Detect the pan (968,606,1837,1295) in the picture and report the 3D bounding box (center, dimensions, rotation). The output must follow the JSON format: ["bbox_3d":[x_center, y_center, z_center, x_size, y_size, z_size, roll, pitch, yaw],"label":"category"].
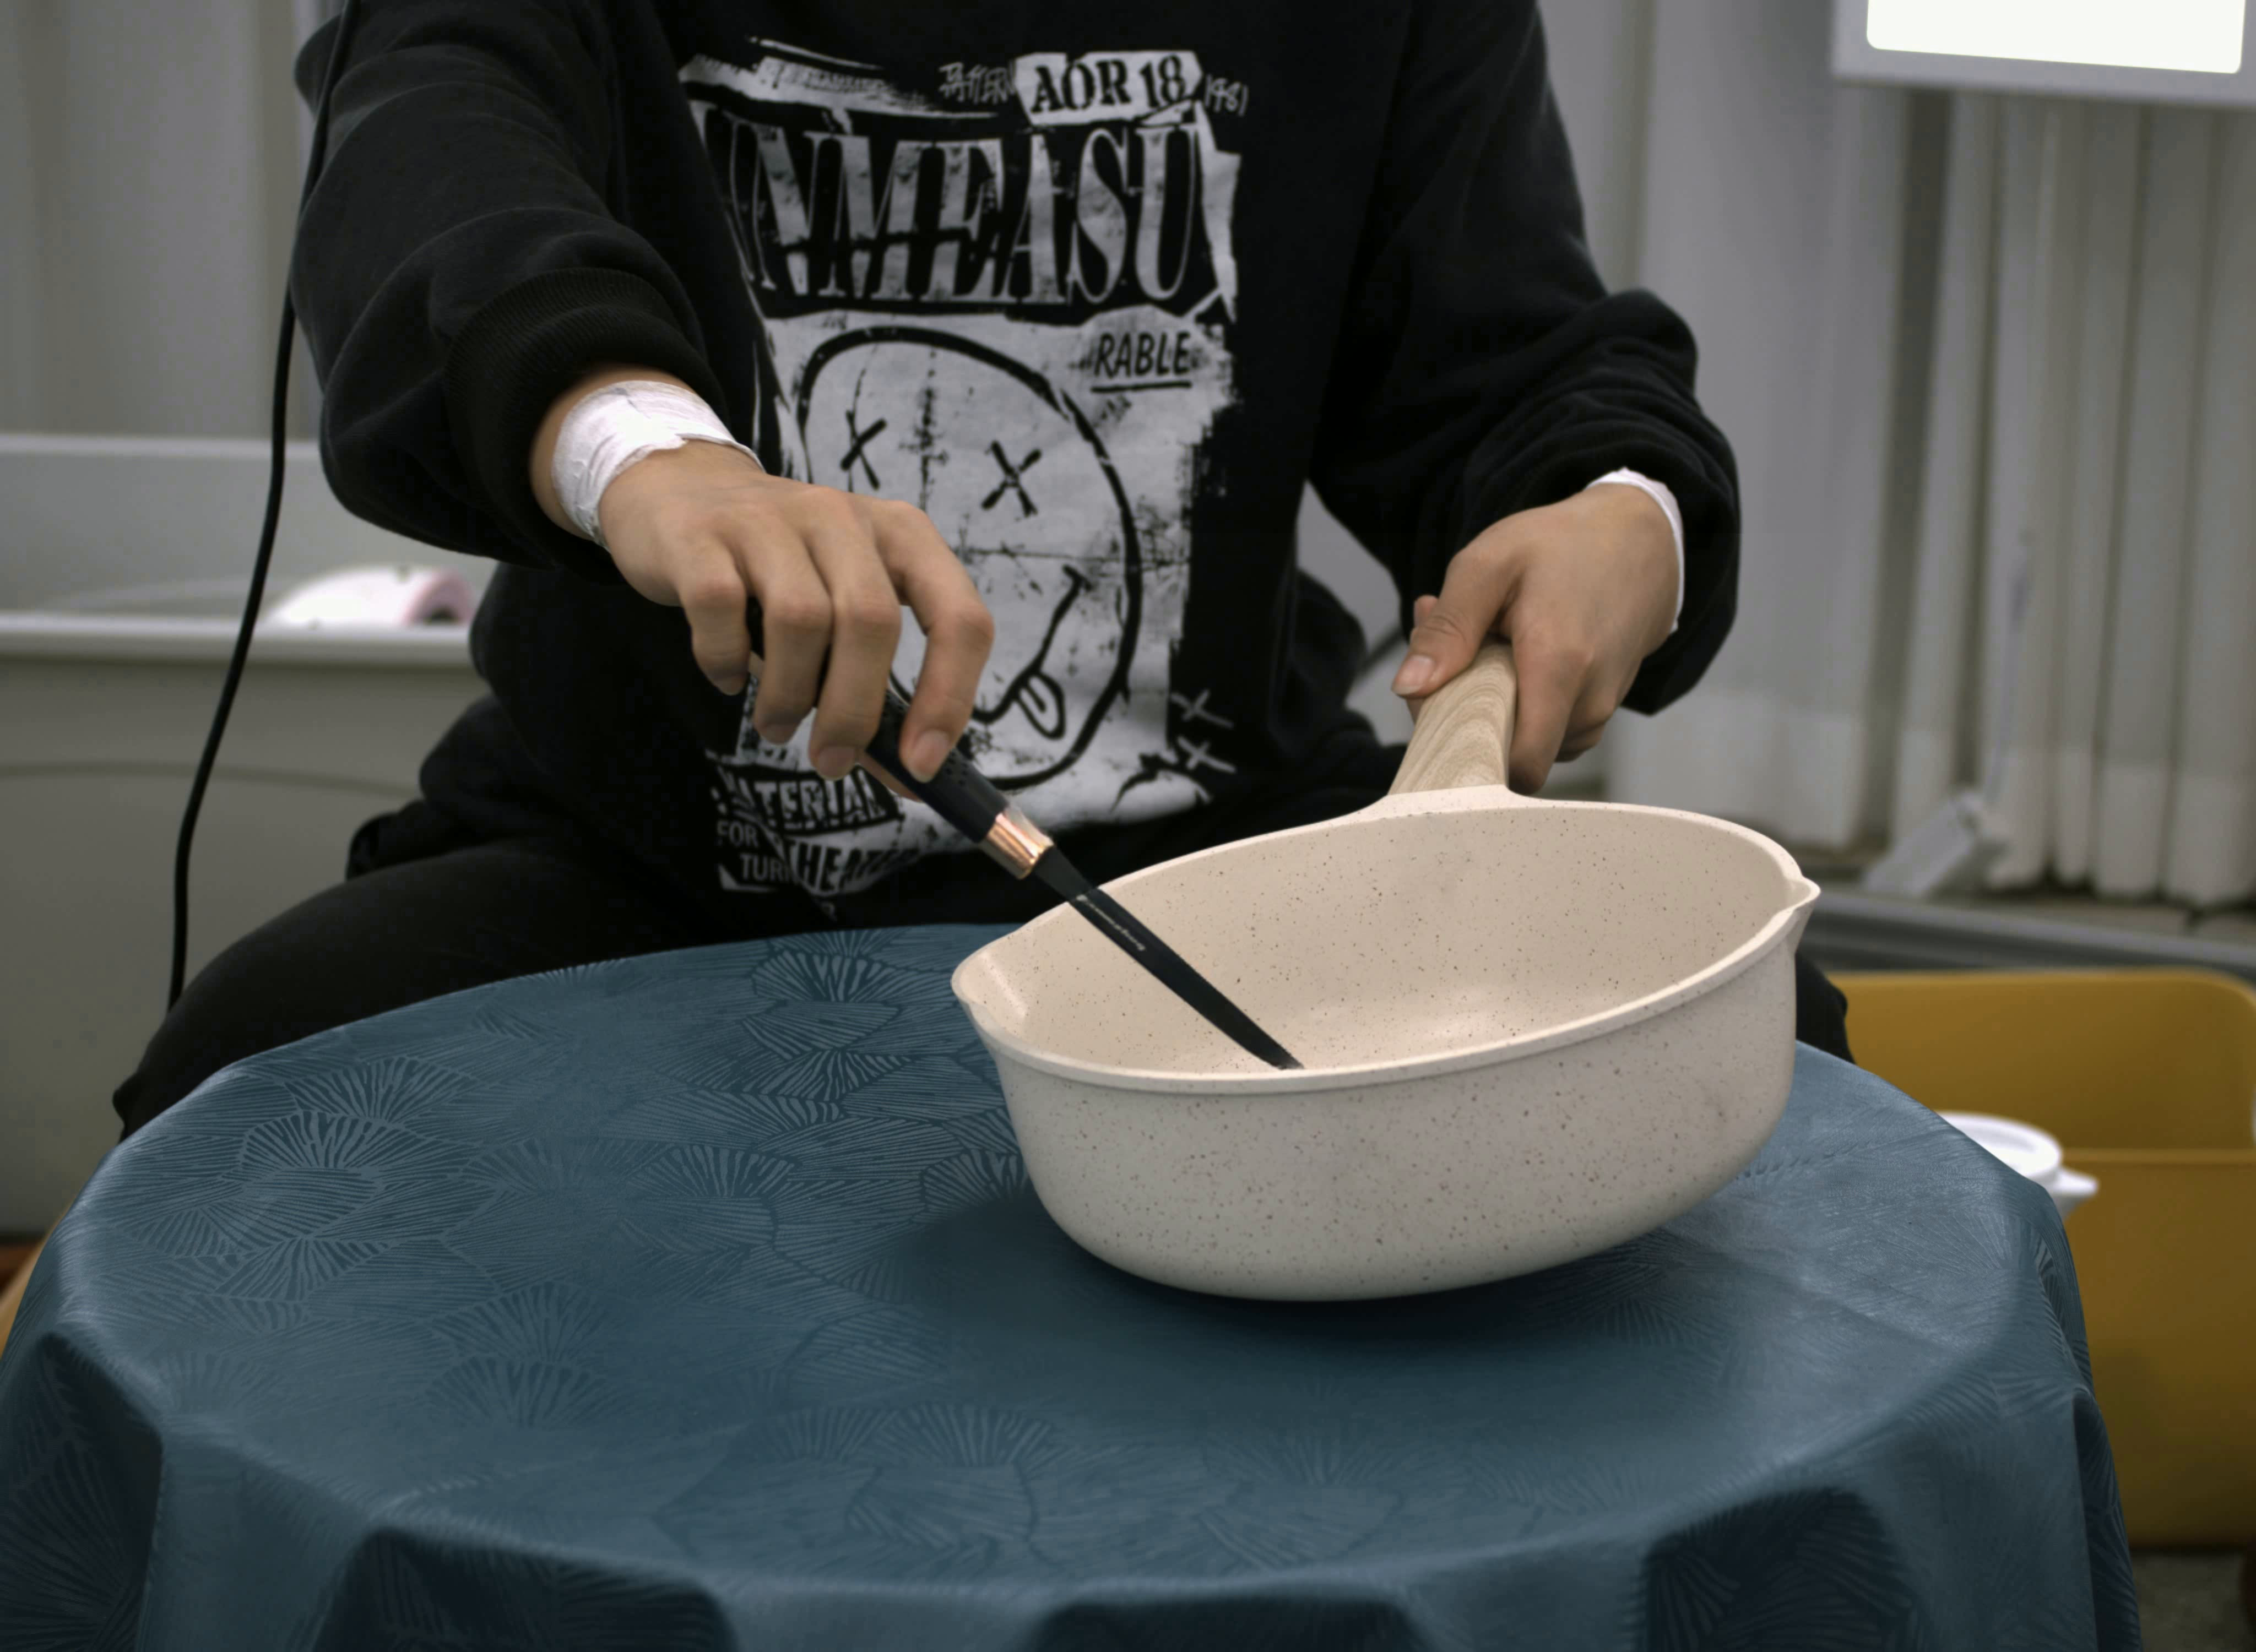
[{"bbox_3d":[0.101,0.034,1.662,0.262,0.103,0.433,-7,16,12],"label":"pan"}]

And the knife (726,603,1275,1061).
[{"bbox_3d":[-0.025,0.010,1.501,0.225,0.017,0.026,39,11,0],"label":"knife"}]
